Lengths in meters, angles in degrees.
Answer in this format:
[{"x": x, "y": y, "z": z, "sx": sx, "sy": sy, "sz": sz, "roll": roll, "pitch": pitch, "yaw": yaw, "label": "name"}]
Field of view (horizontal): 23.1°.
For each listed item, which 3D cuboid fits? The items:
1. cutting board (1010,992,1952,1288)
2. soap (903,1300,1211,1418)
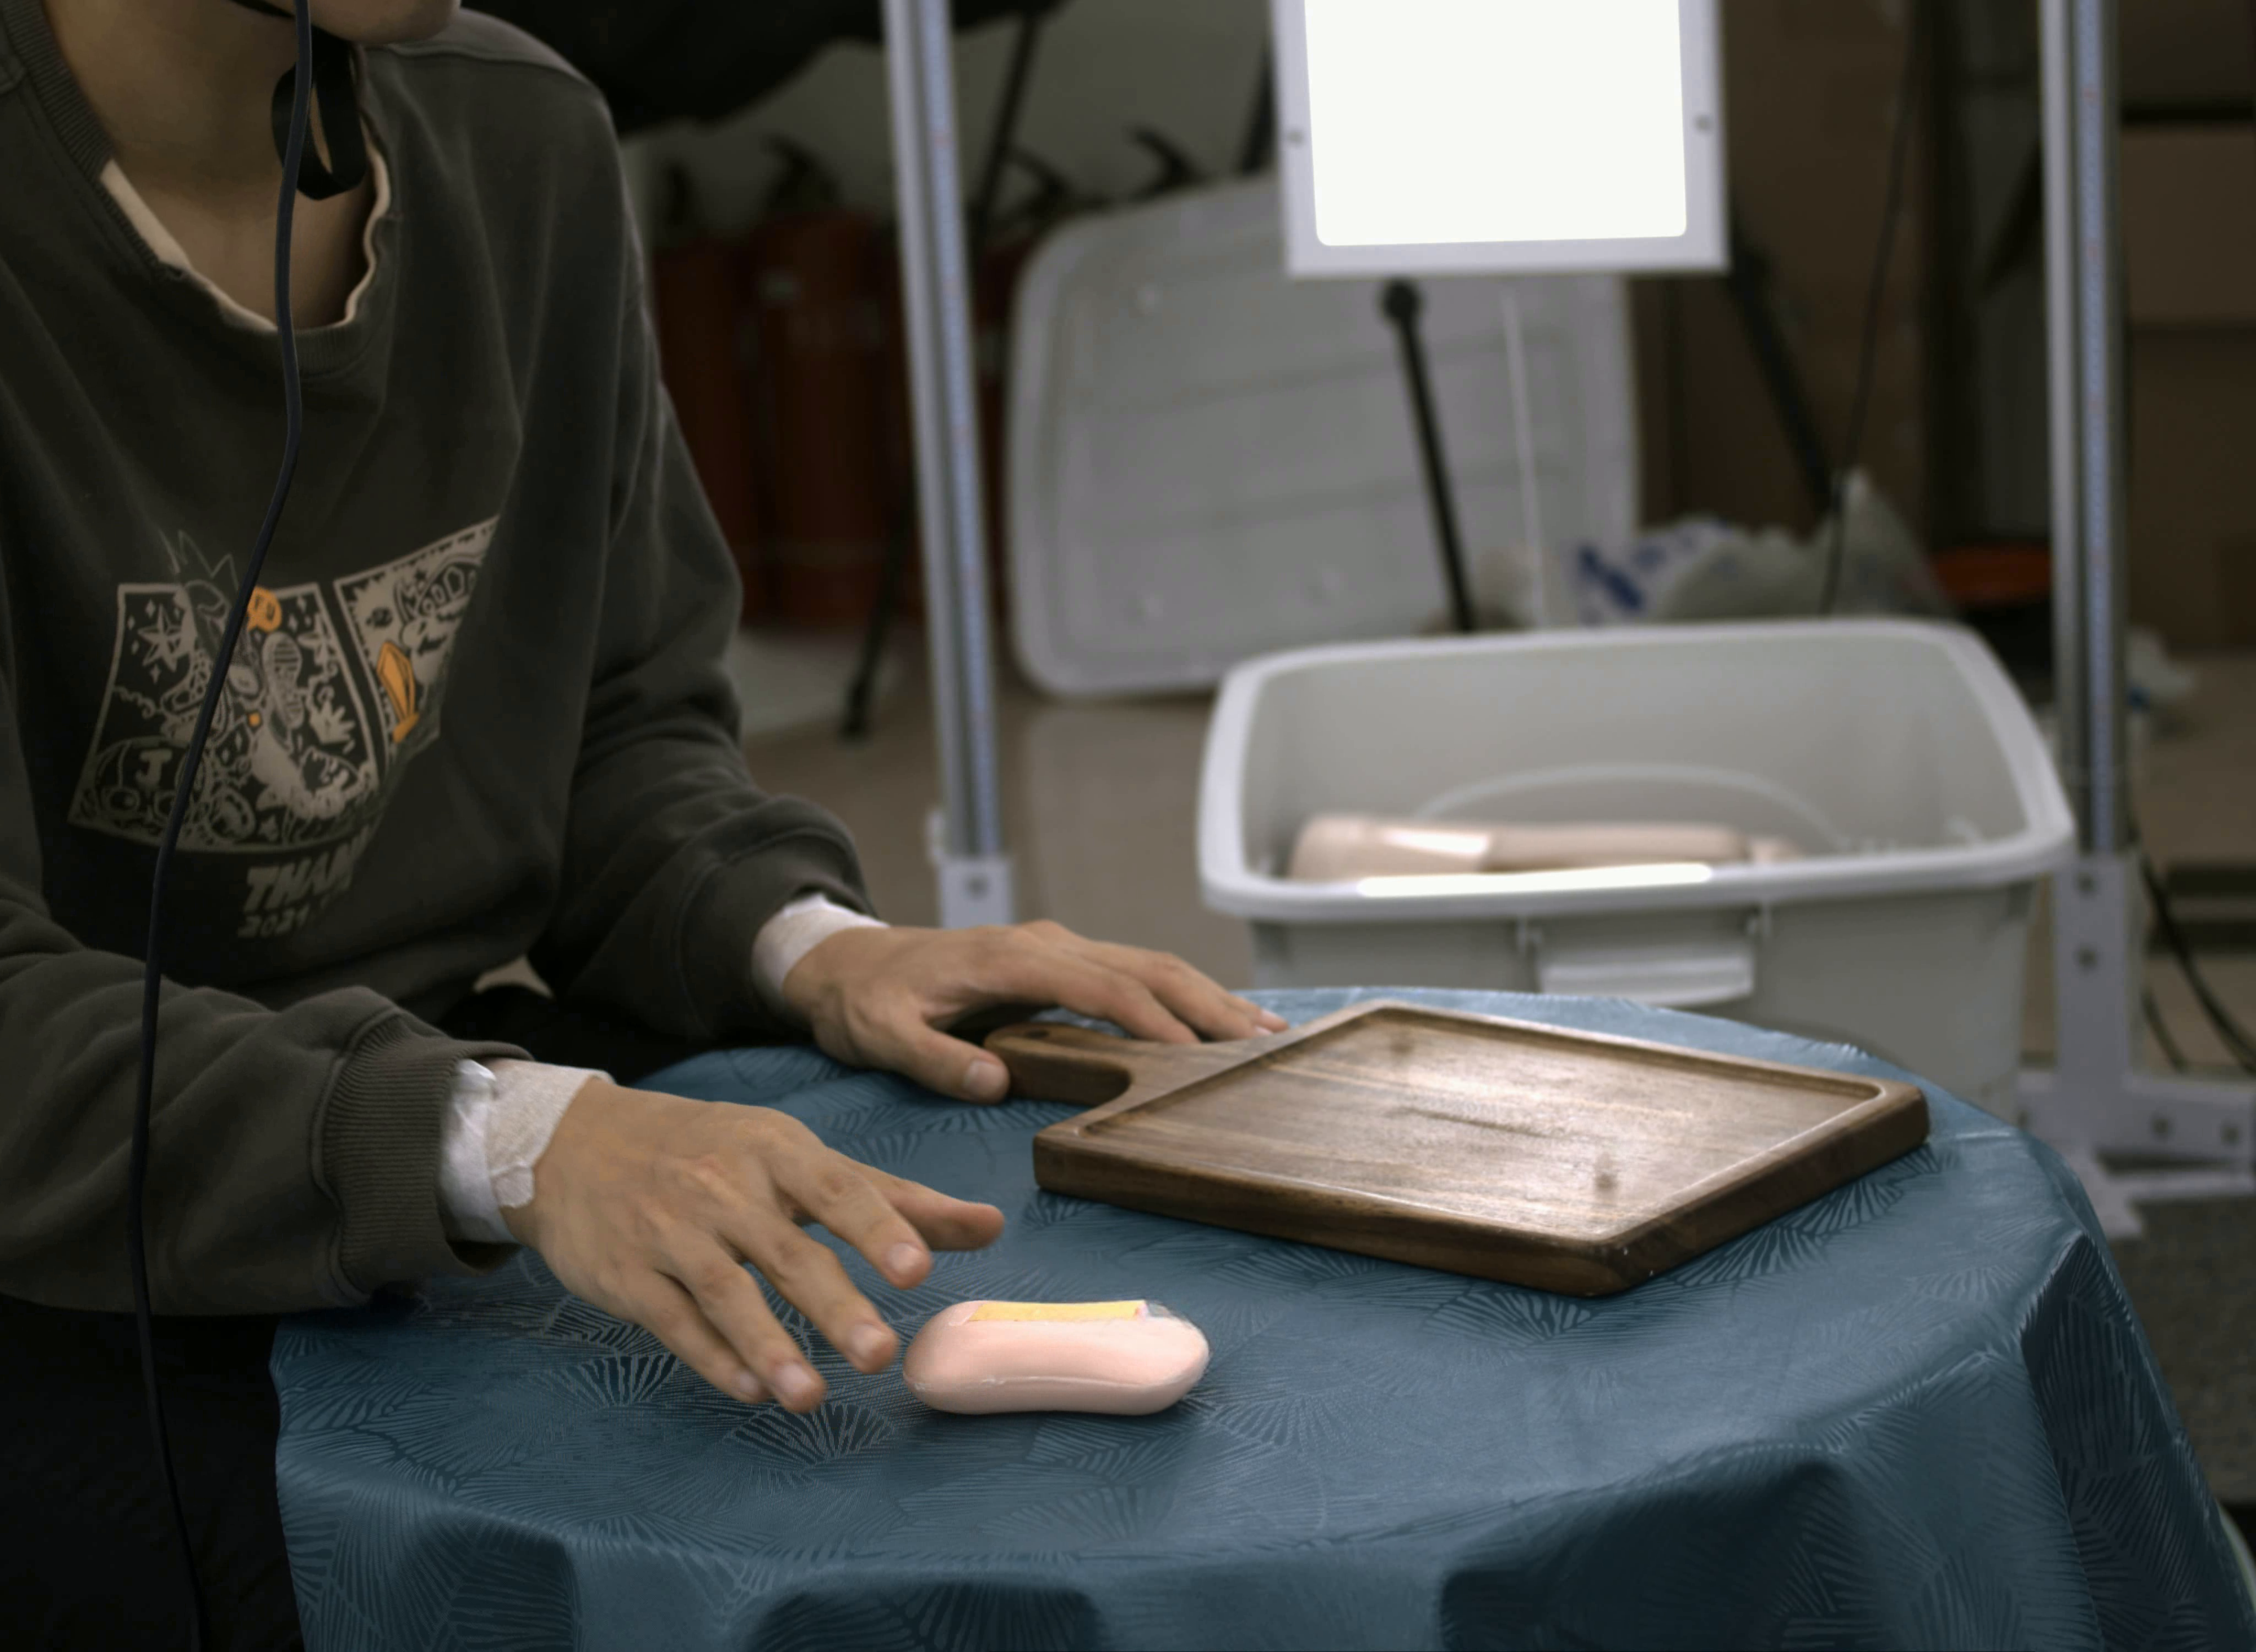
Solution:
[{"x": 0.094, "y": 0.099, "z": 1.930, "sx": 0.360, "sy": 0.023, "sz": 0.196, "roll": 8, "pitch": 19, "yaw": 43, "label": "cutting board"}, {"x": -0.021, "y": 0.164, "z": 1.694, "sx": 0.095, "sy": 0.030, "sz": 0.049, "roll": -3, "pitch": 13, "yaw": 16, "label": "soap"}]
